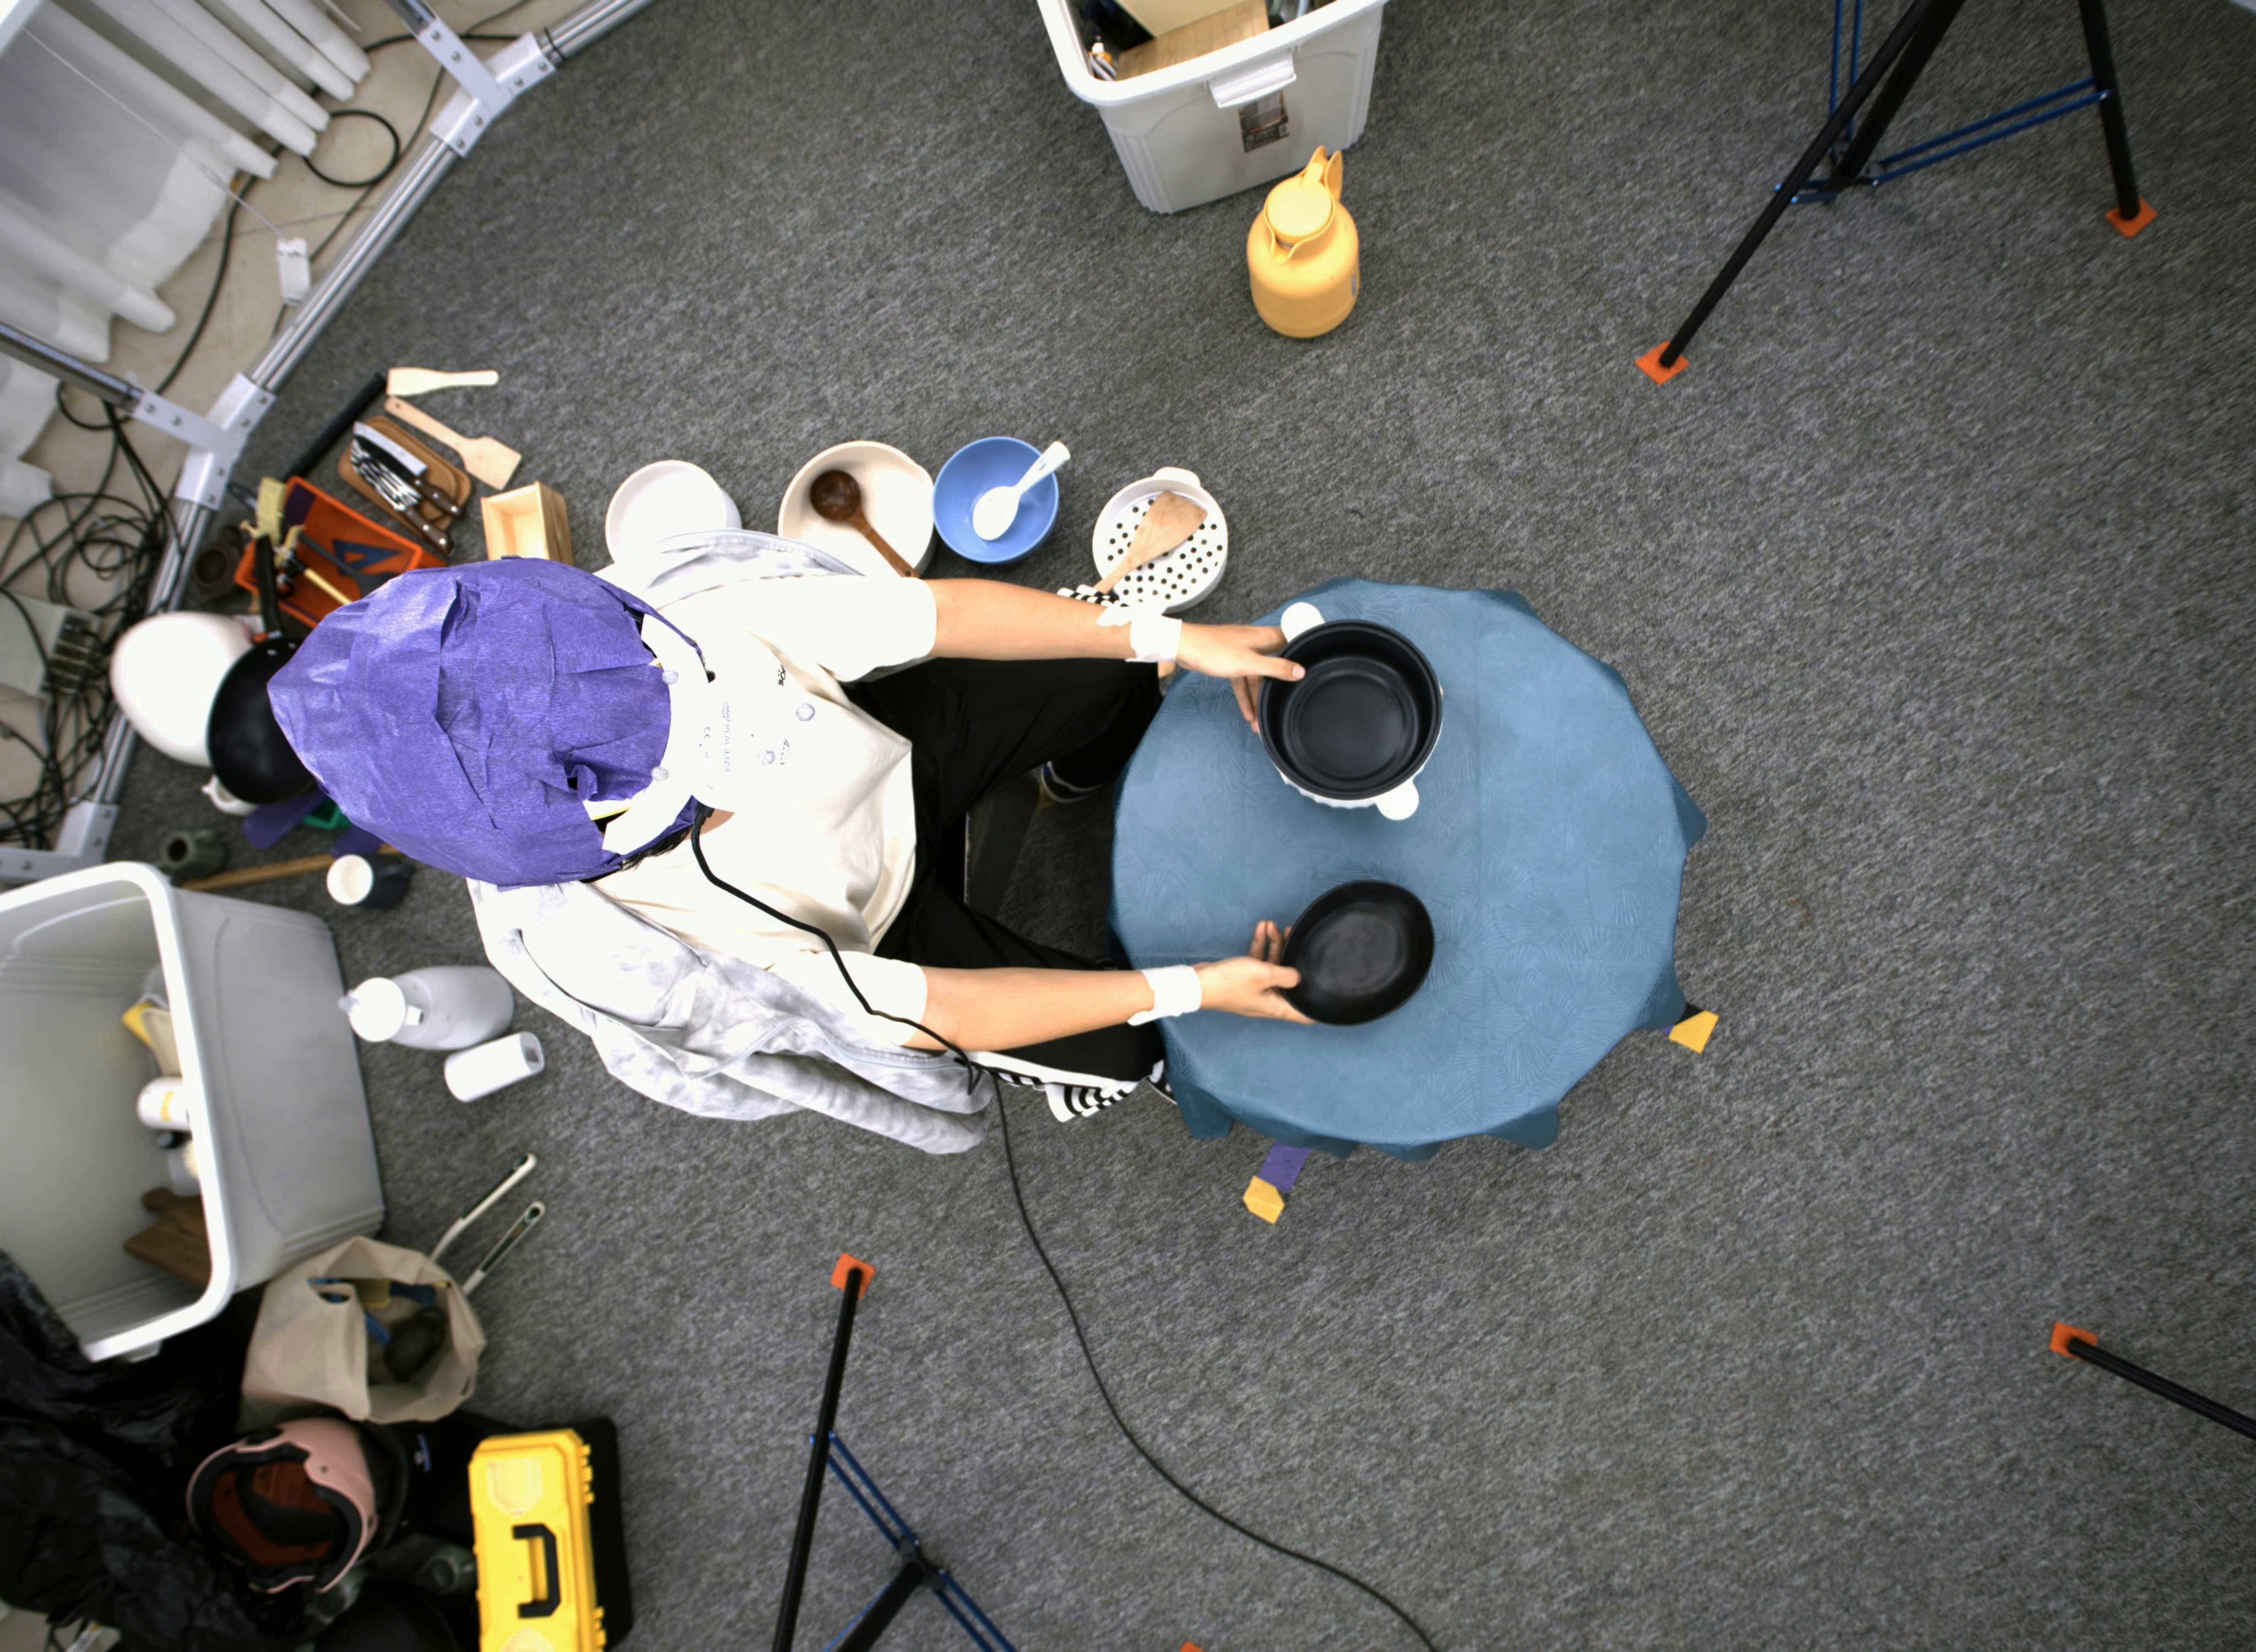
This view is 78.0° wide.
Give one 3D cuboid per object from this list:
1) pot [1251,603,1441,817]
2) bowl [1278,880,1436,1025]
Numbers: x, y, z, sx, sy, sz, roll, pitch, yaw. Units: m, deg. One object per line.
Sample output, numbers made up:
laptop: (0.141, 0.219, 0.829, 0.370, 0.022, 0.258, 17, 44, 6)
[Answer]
pot: (0.229, -0.113, 1.406, 0.192, 0.142, 0.239, -29, 82, 10)
bowl: (0.237, 0.132, 1.429, 0.171, 0.067, 0.136, -39, 79, 7)
